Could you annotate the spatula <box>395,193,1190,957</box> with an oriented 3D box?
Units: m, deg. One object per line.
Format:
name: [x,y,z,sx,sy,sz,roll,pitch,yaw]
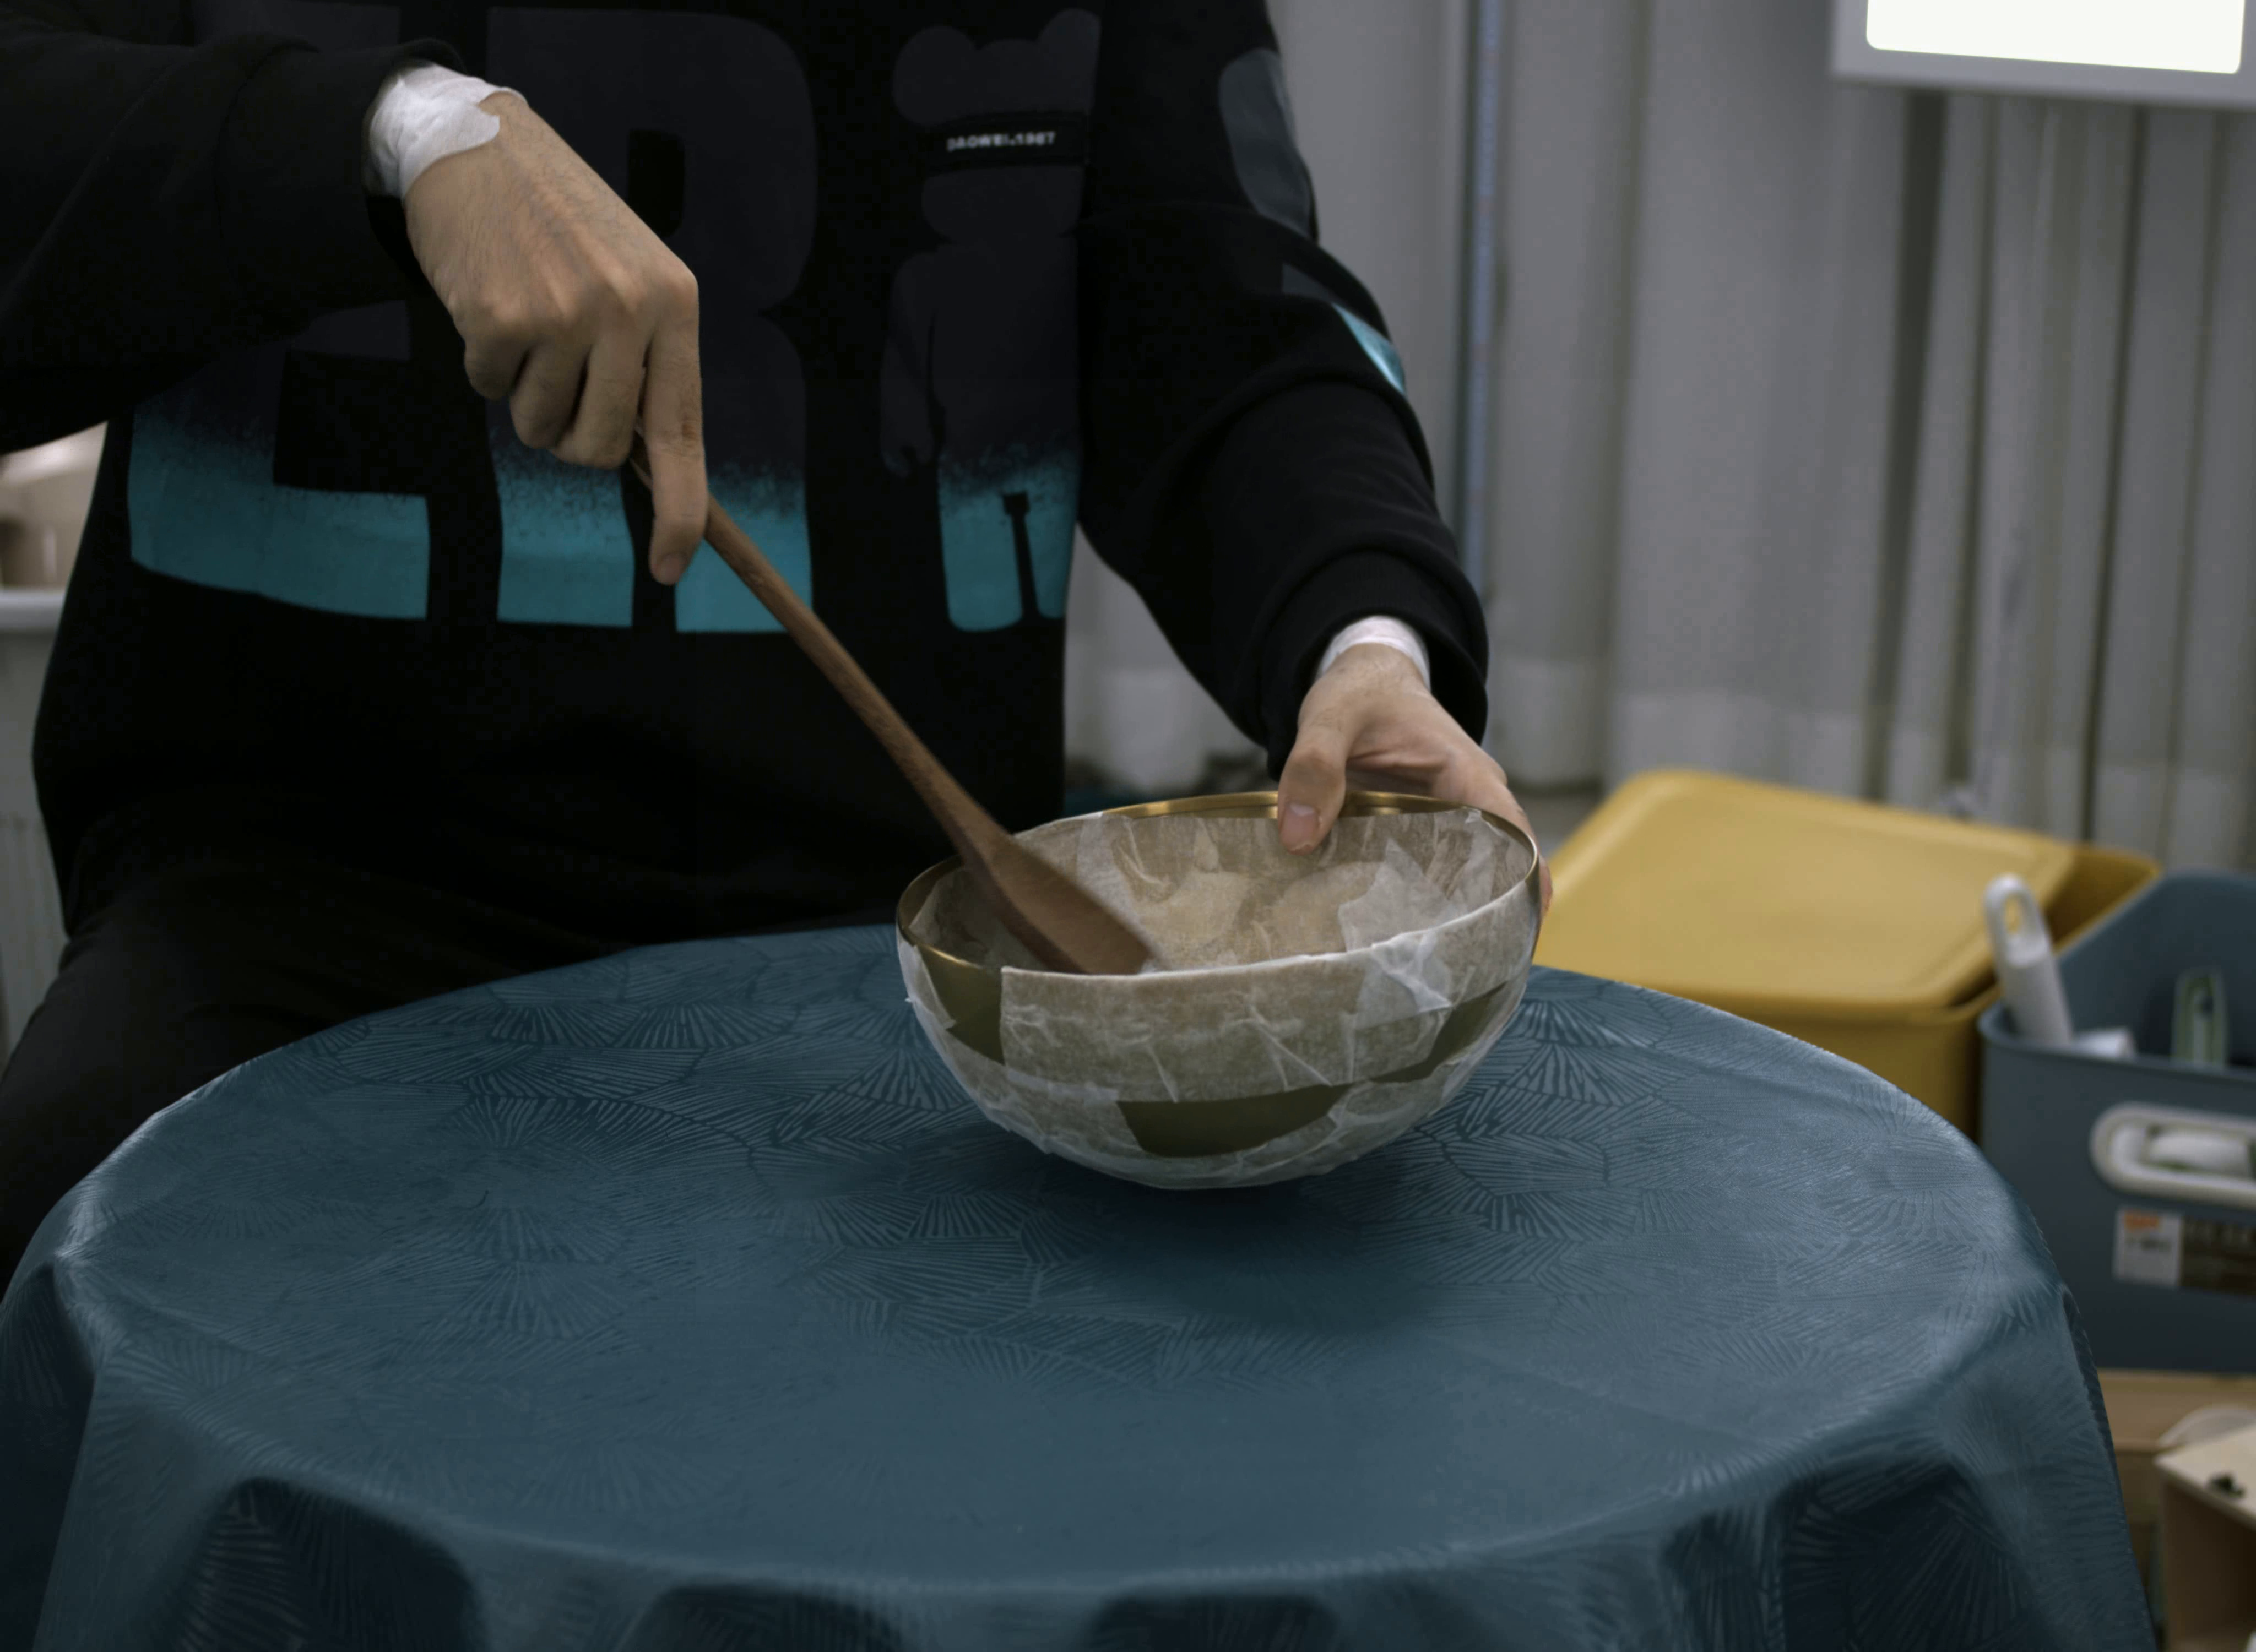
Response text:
spatula: [-0.103,-0.068,1.677,0.384,0.016,0.096,47,15,8]

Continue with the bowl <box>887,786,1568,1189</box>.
bowl: [0.034,0.057,1.629,0.214,0.095,0.213,-6,14,2]
